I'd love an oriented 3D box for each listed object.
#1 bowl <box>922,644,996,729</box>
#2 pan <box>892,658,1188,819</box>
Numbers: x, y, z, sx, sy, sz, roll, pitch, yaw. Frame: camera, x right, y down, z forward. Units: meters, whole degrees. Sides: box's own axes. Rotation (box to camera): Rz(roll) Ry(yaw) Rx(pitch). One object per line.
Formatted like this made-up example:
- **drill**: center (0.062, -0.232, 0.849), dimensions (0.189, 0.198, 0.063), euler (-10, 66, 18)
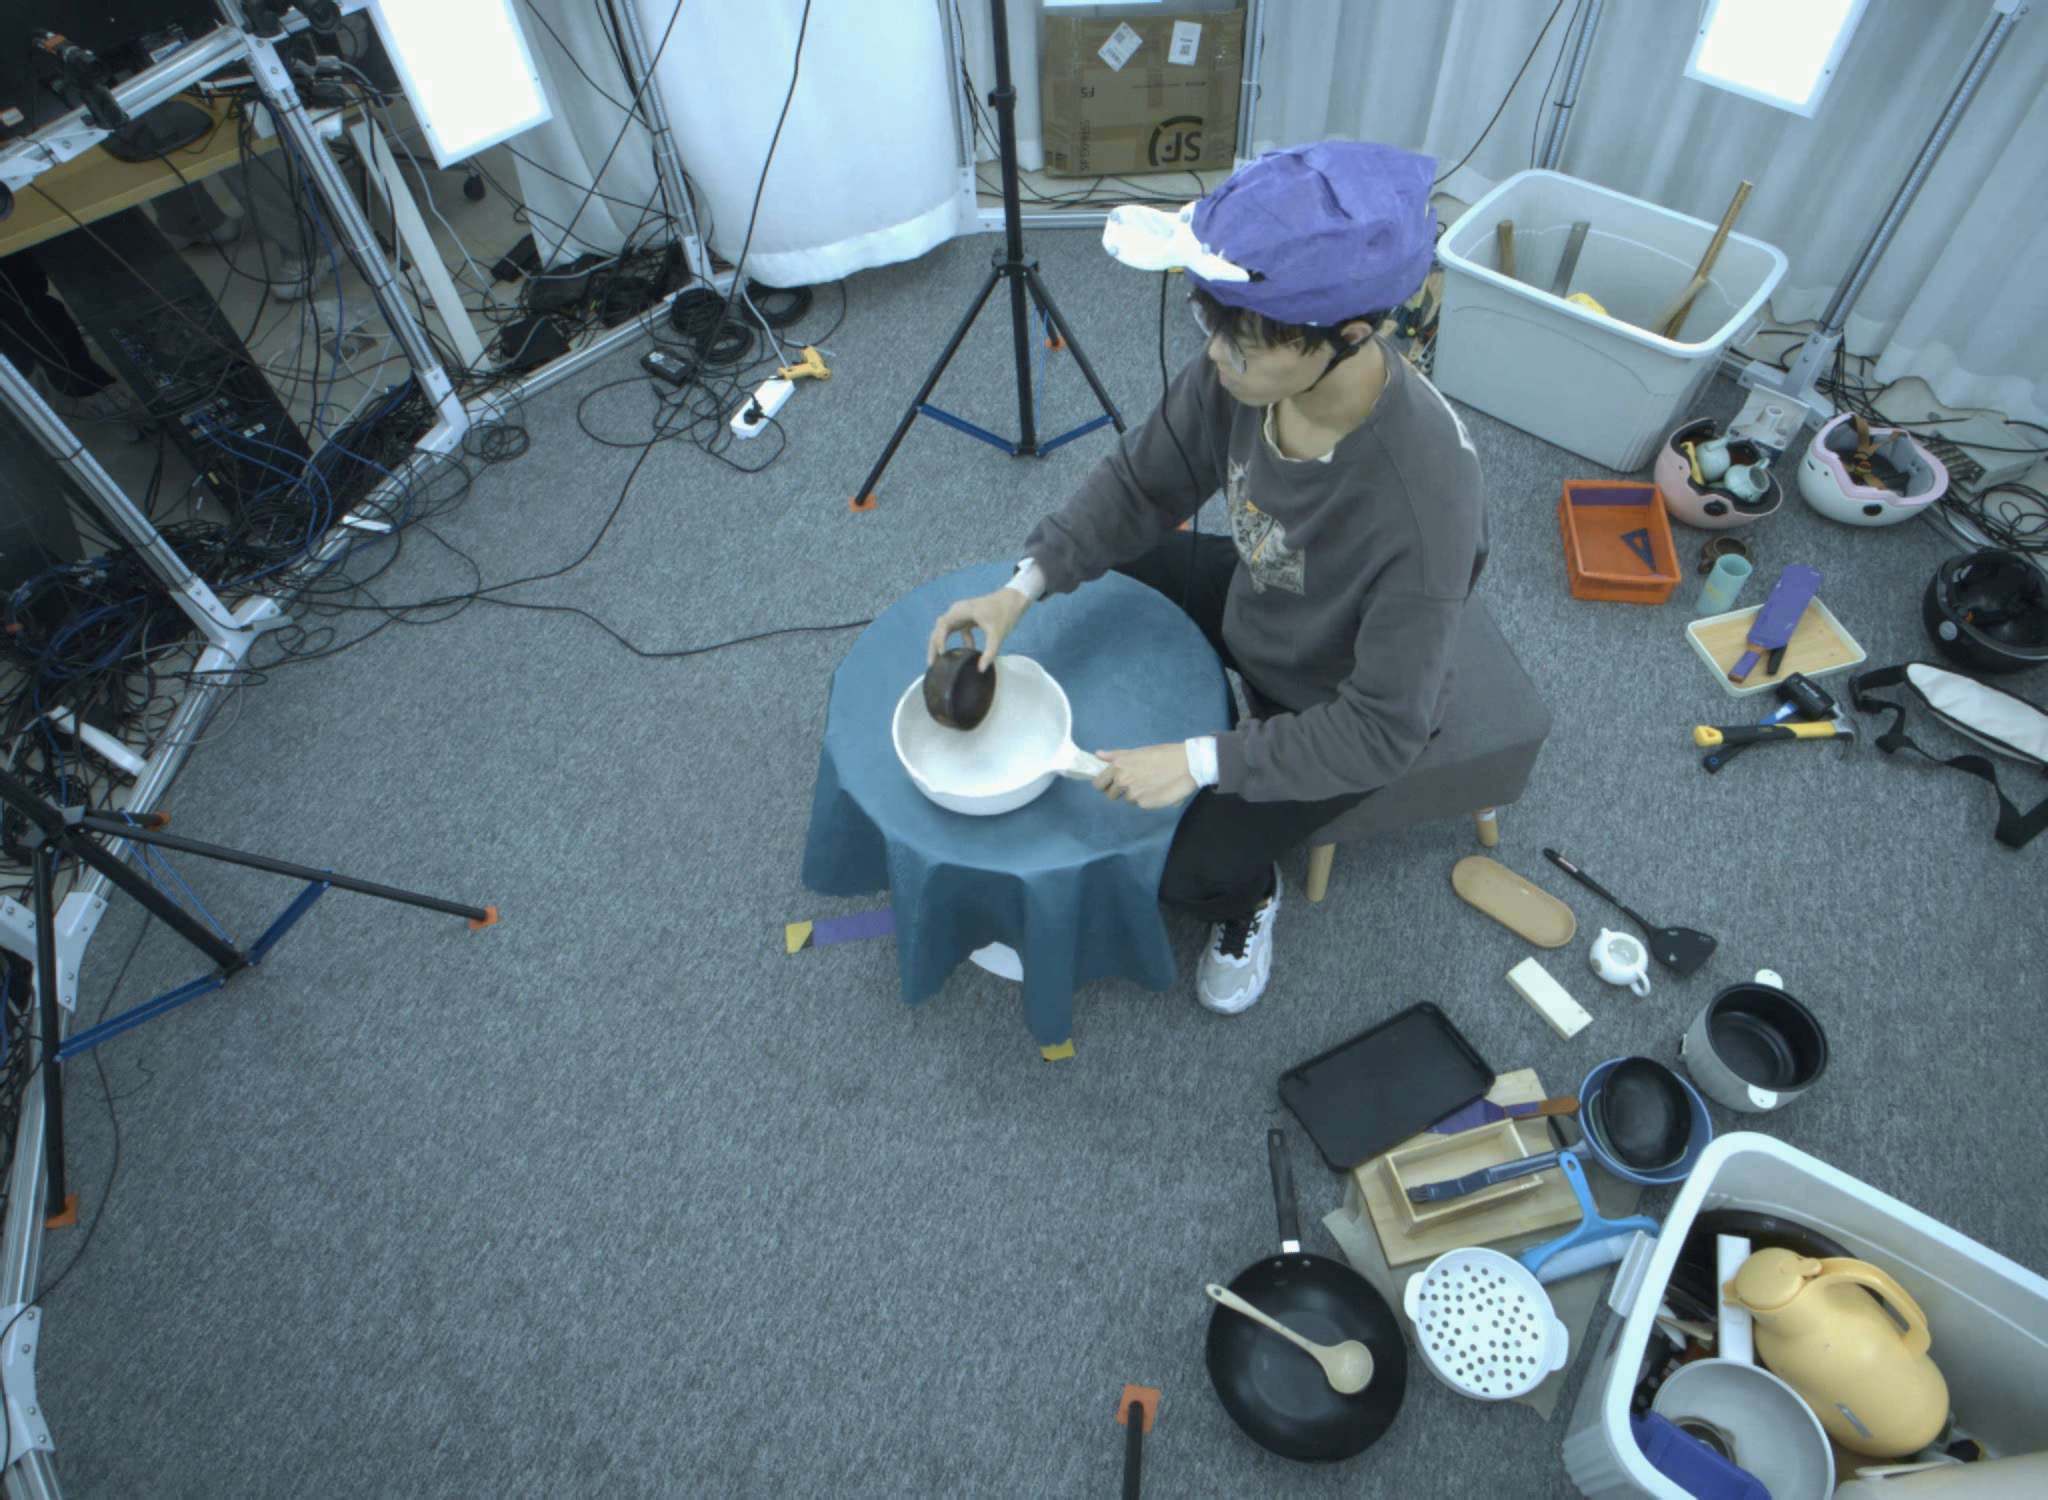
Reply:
- **bowl**: center (-0.099, -0.092, 1.721), dimensions (0.068, 0.120, 0.118), euler (14, 56, 27)
- **pan**: center (0.023, 0.017, 1.711), dimensions (0.429, 0.103, 0.264), euler (22, 56, 17)
